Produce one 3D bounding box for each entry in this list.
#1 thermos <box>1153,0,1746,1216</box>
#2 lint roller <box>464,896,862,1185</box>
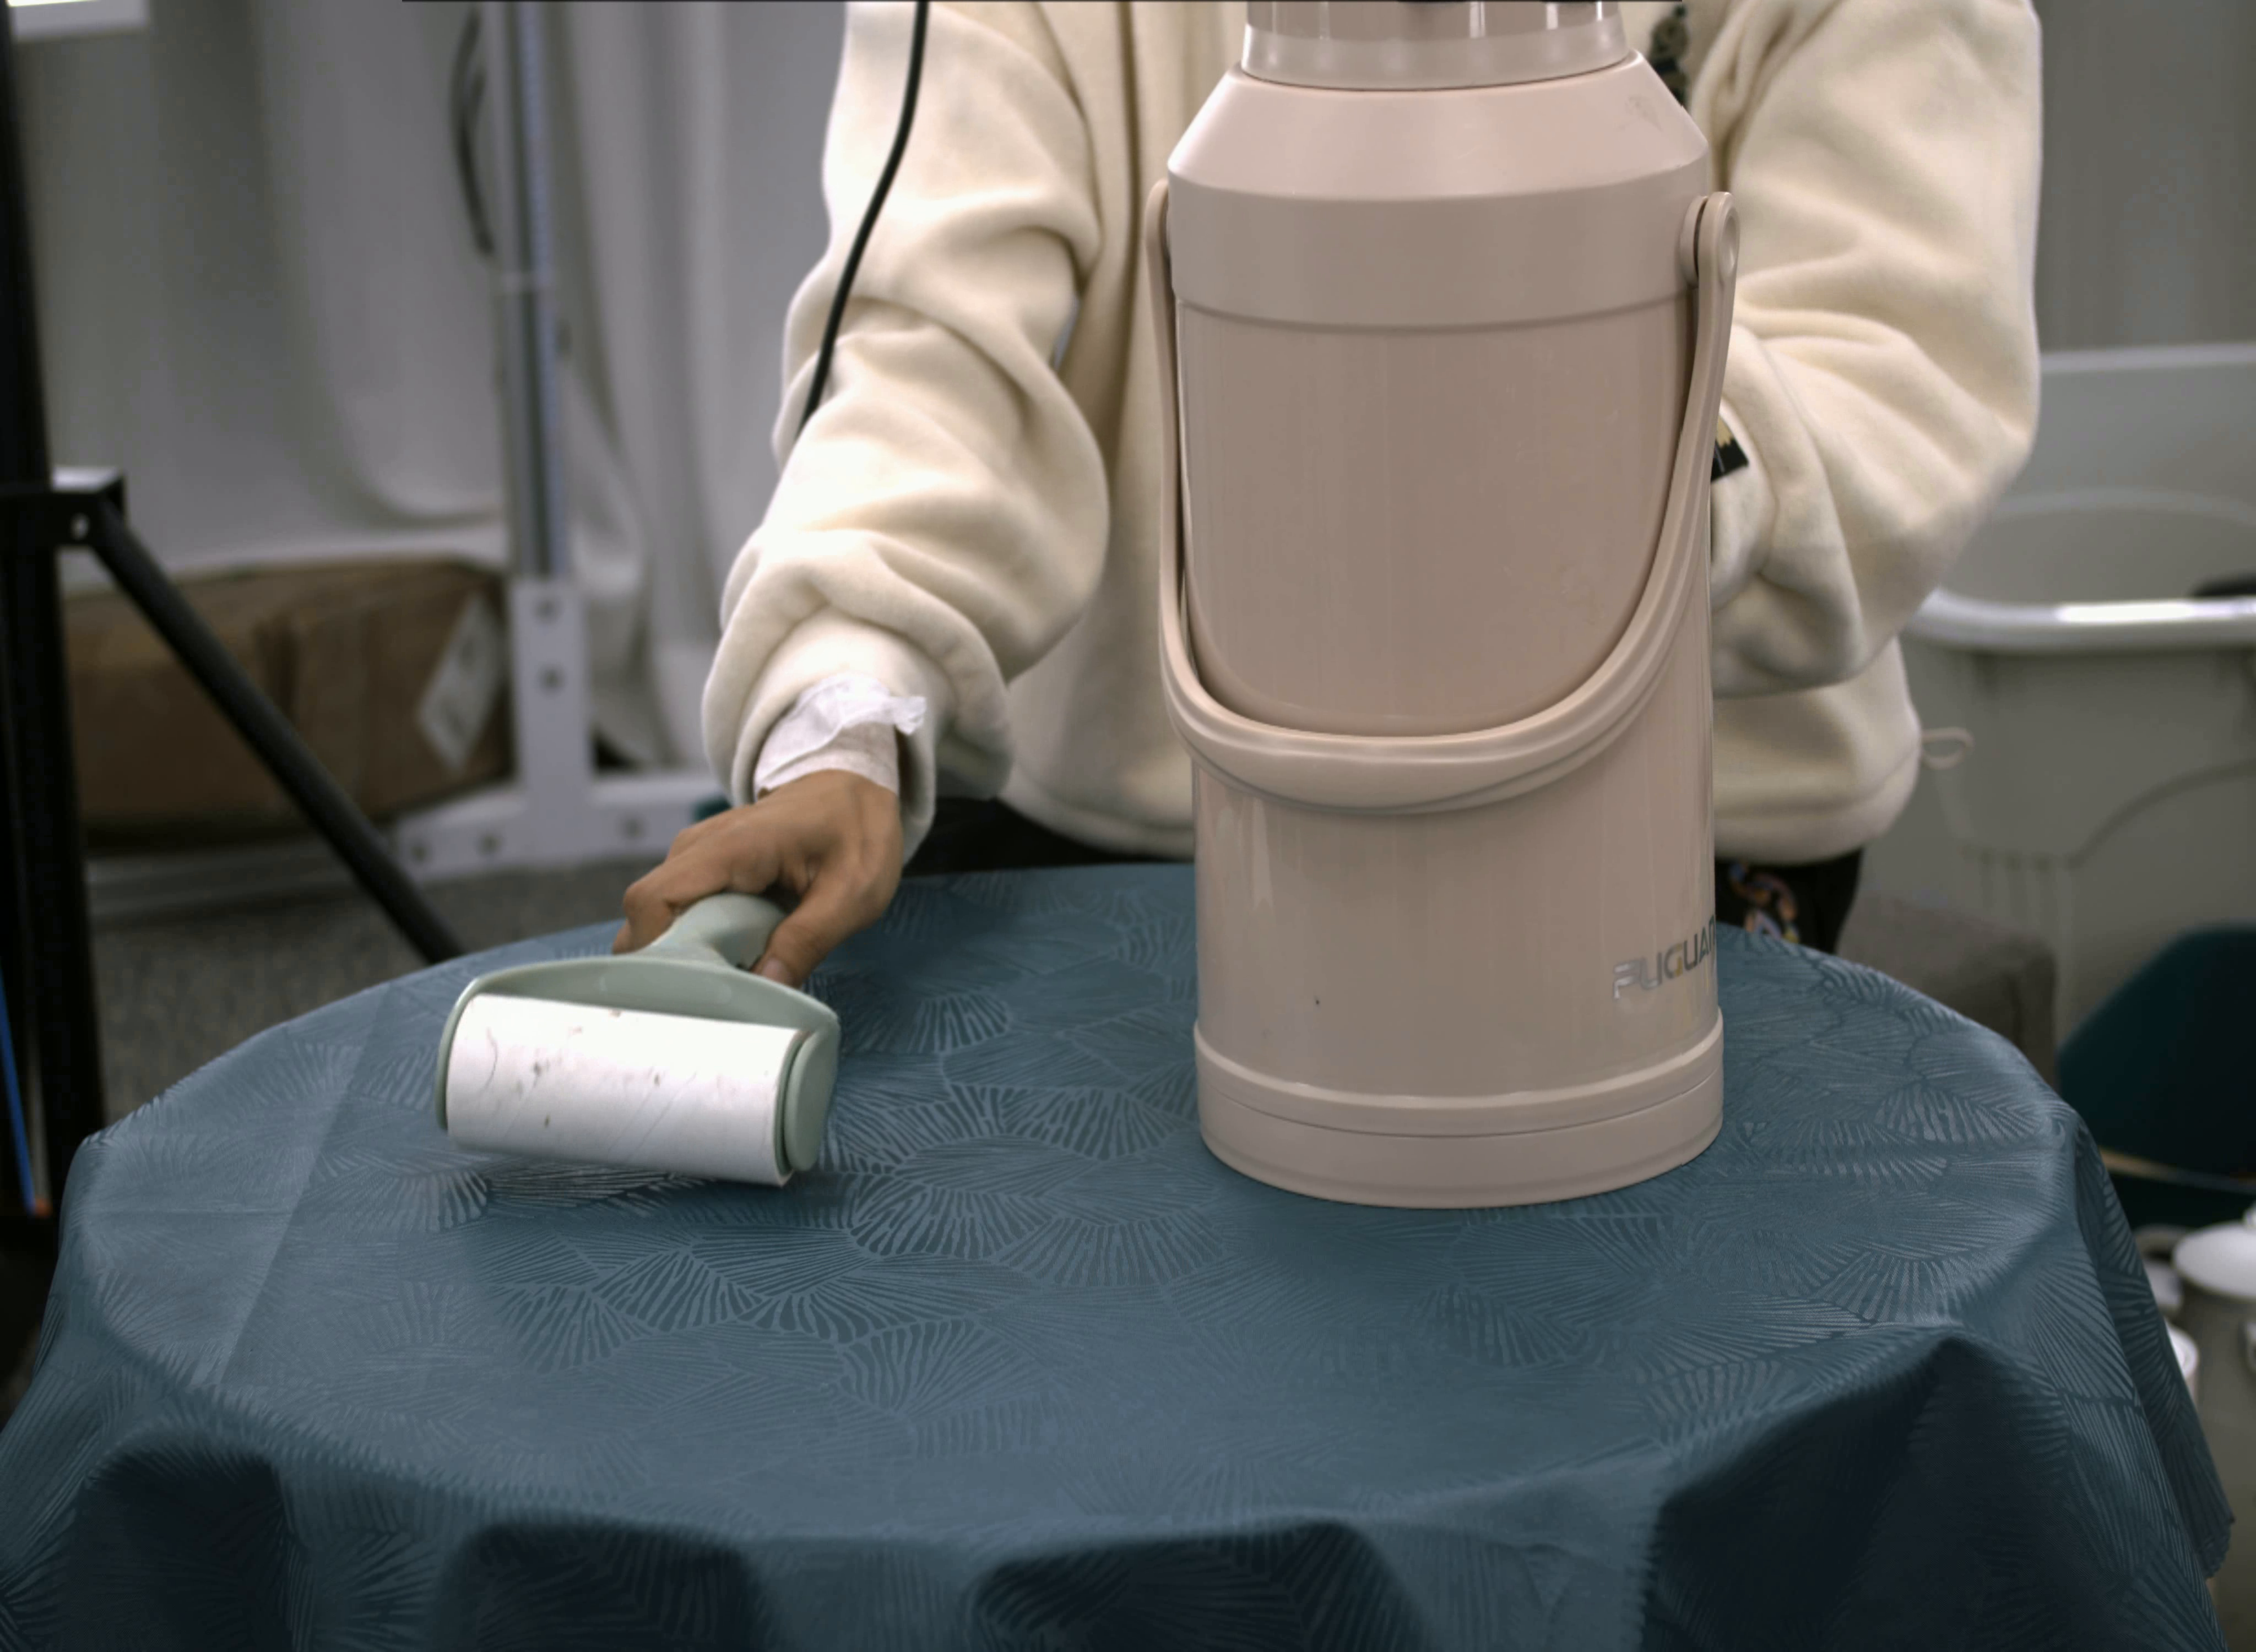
[{"bbox_3d":[0.100,-0.103,1.564,0.178,0.406,0.204,4,16,23],"label":"thermos"},{"bbox_3d":[-0.126,0.053,1.644,0.117,0.048,0.197,3,22,11],"label":"lint roller"}]
